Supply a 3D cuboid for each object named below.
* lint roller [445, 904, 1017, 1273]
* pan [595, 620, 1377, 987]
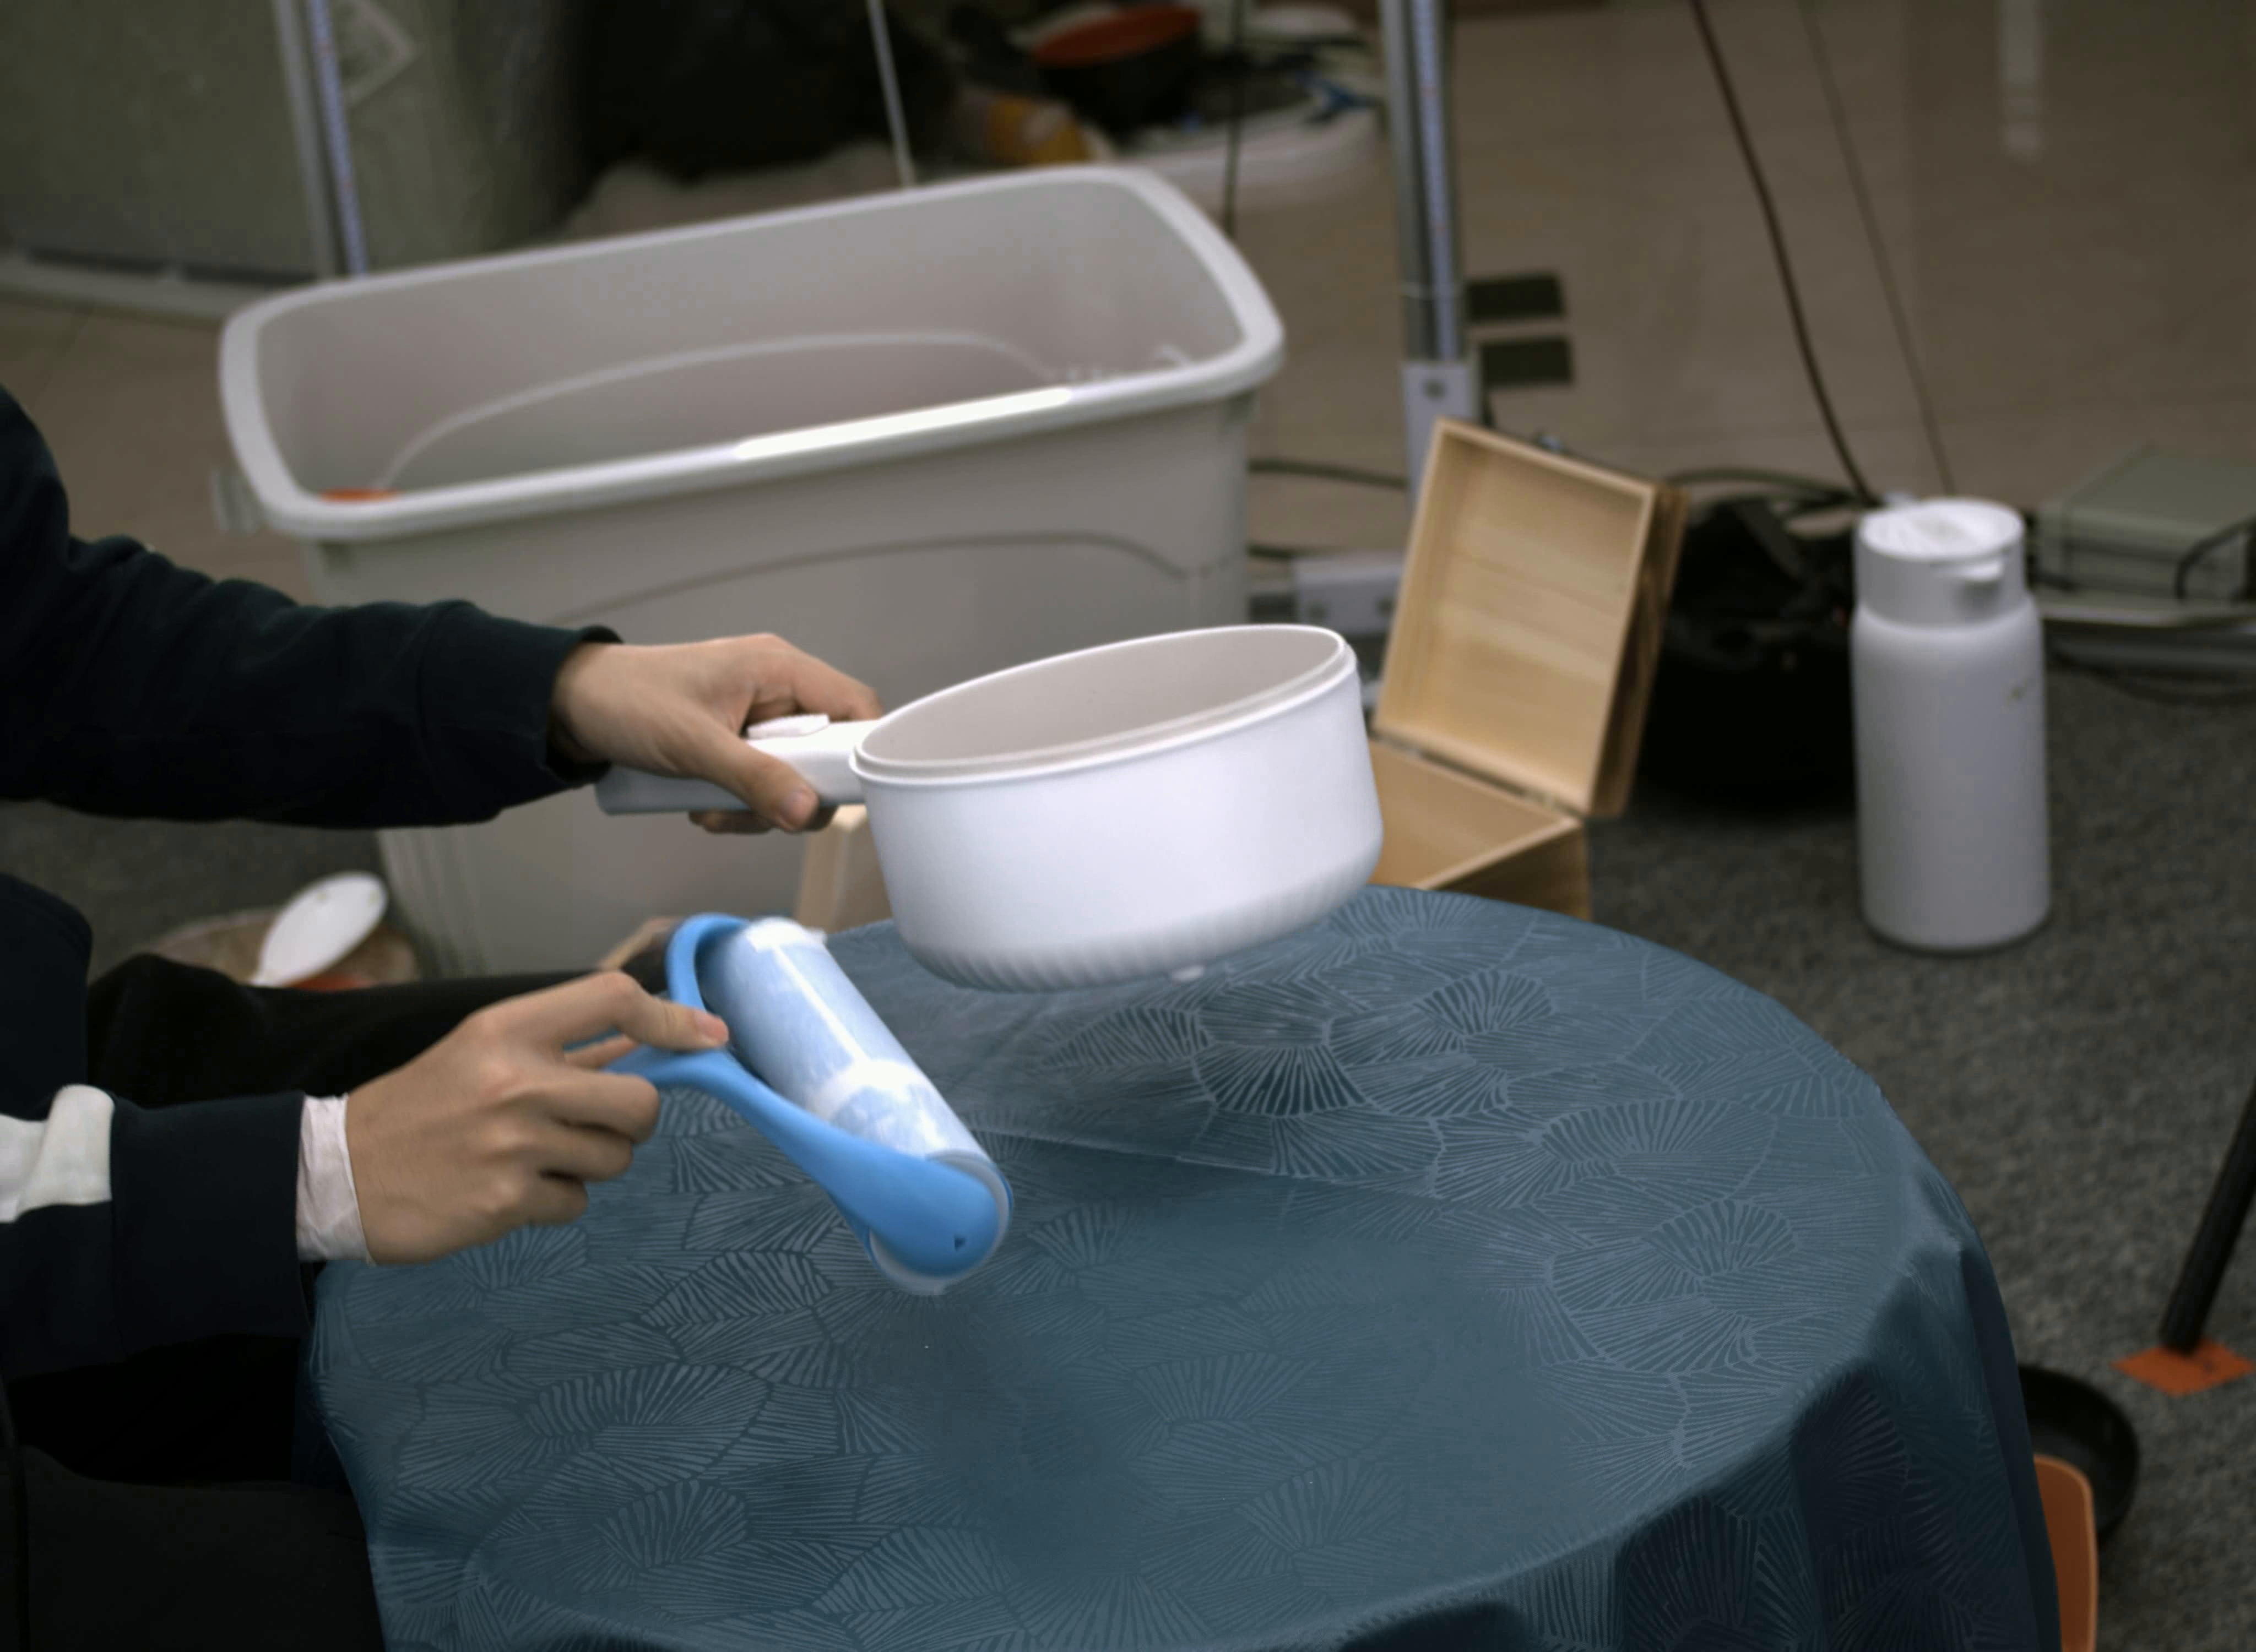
[{"bbox_3d":[-0.154,0.102,1.993,0.179,0.069,0.226,-12,30,-23],"label":"lint roller"},{"bbox_3d":[-0.063,-0.002,2.239,0.354,0.103,0.199,-4,15,38],"label":"pan"}]
